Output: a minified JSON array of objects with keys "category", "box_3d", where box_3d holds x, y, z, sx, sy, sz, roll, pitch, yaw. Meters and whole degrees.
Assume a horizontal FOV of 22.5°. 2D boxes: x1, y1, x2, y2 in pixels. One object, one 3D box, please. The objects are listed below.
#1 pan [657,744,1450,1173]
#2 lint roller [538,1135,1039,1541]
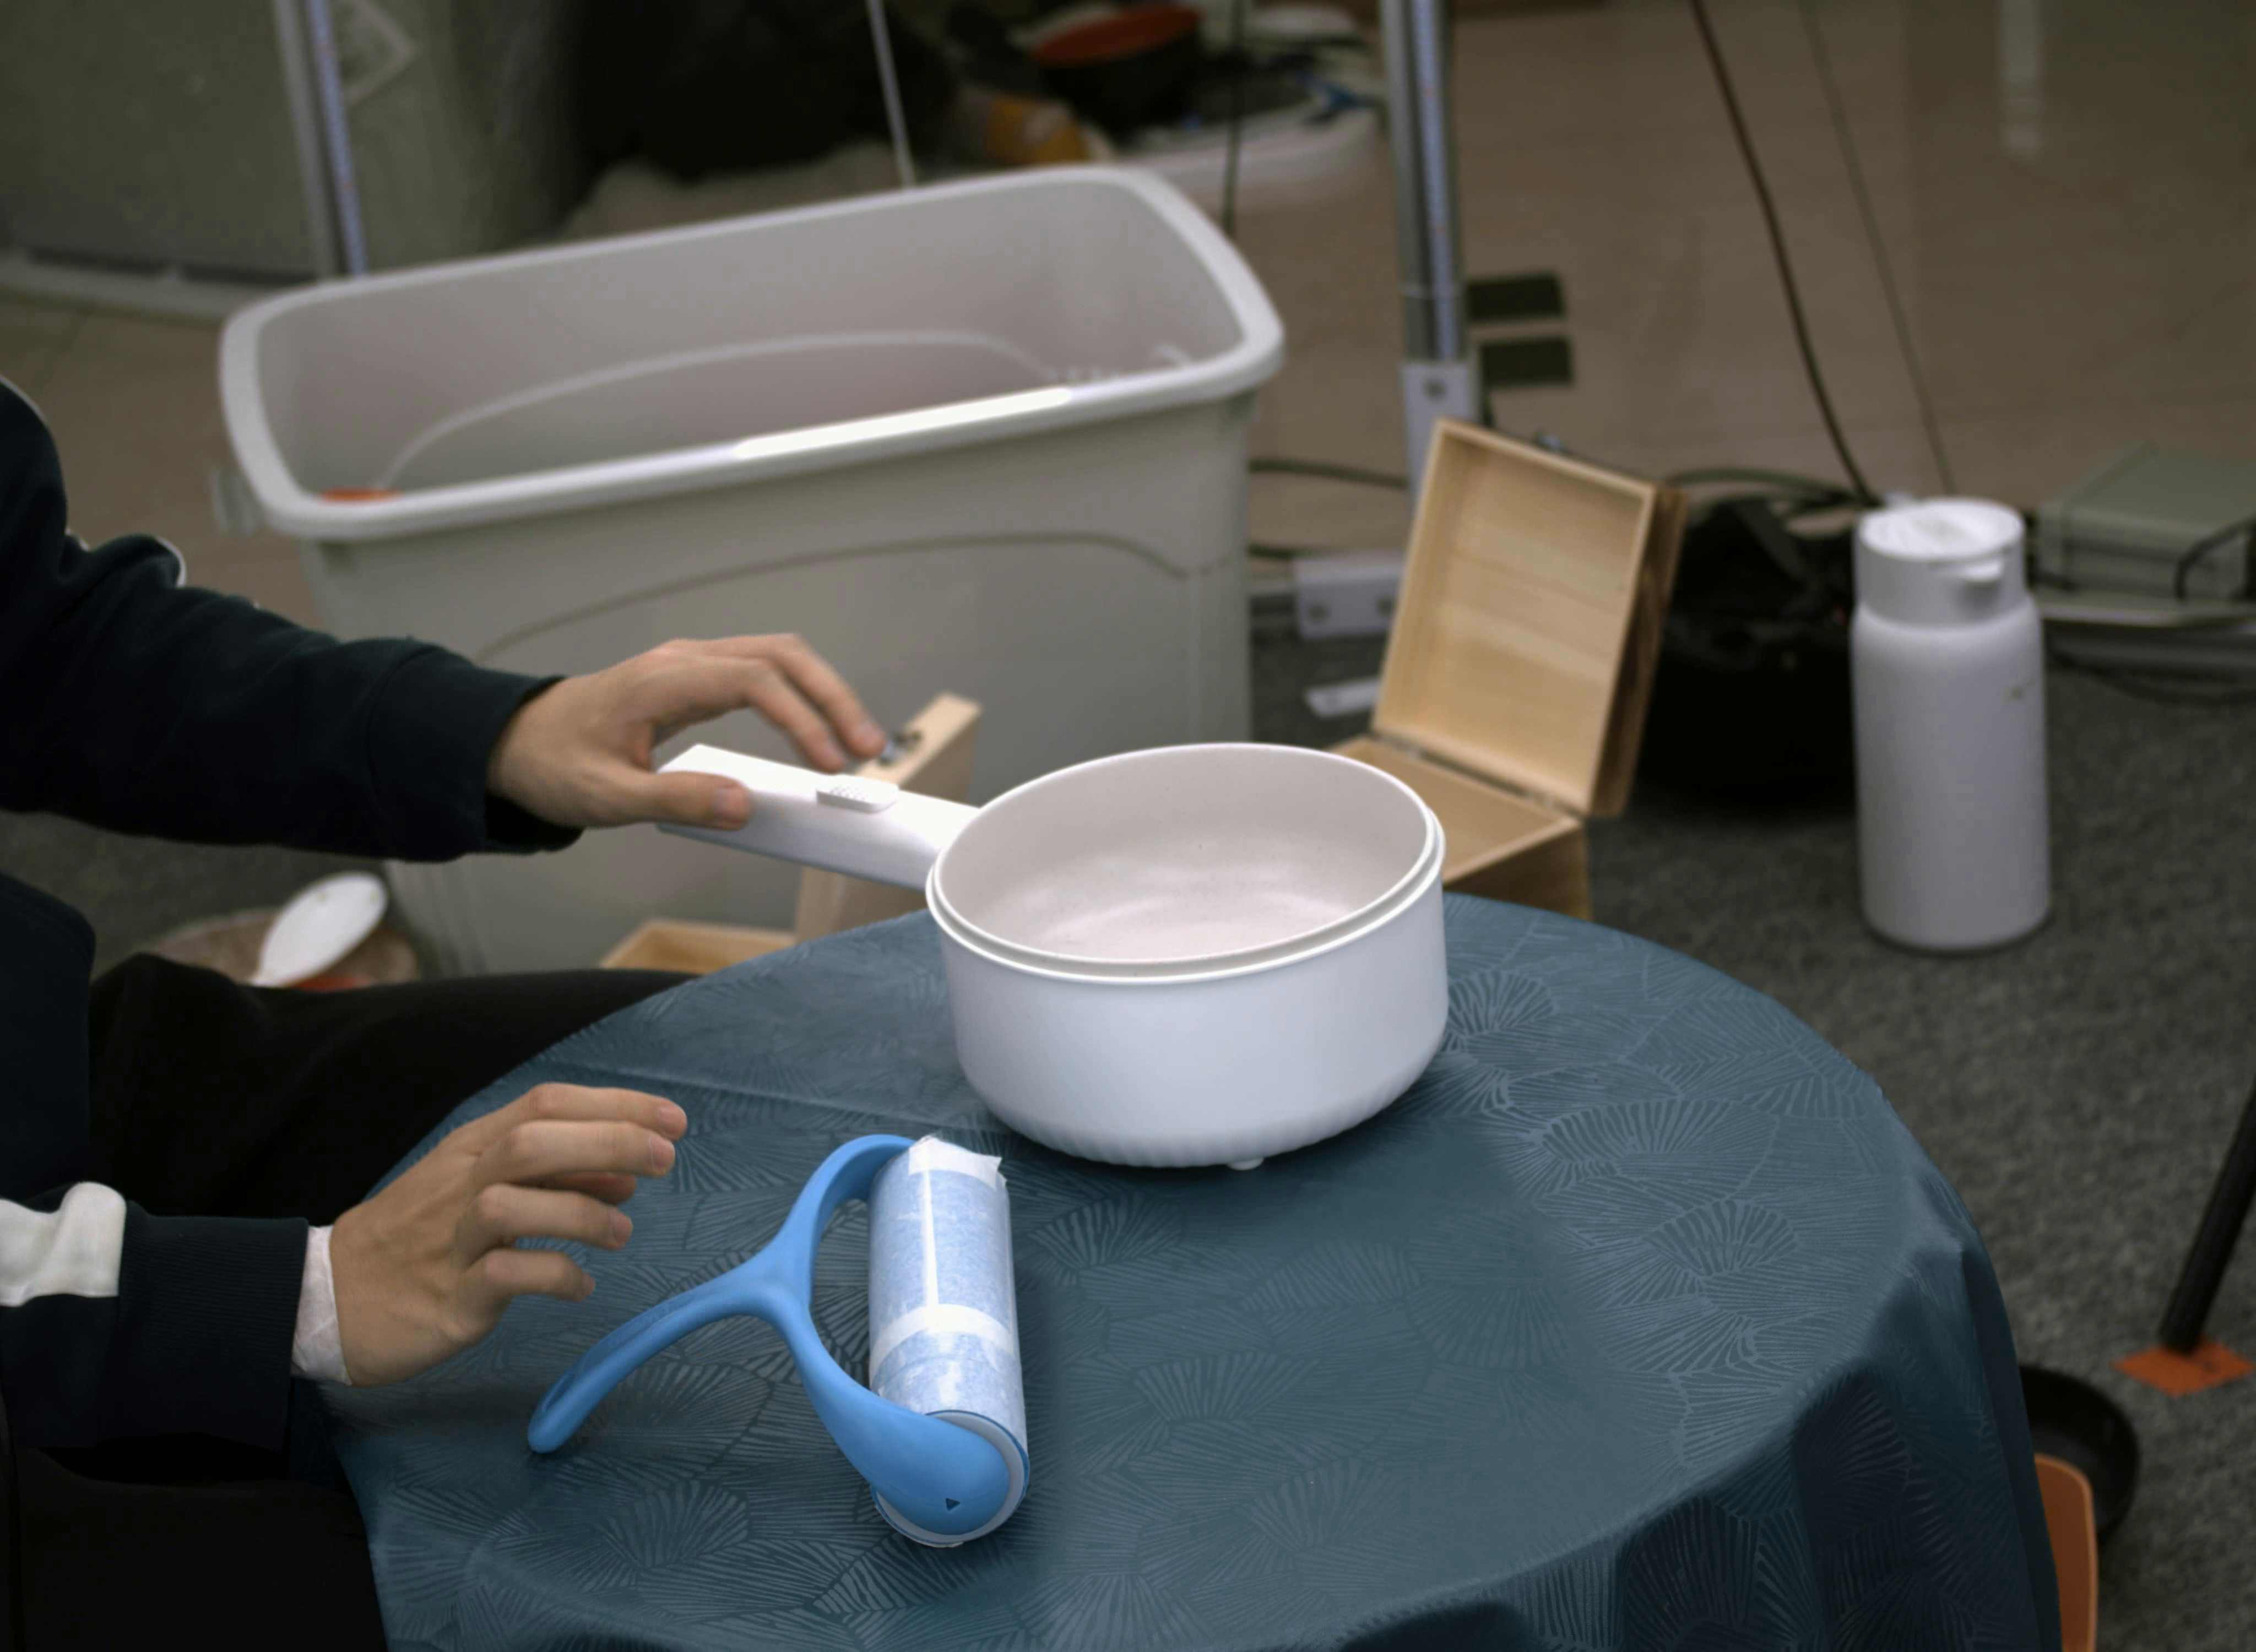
[{"category":"pan","box_3d":[-0.036,0.043,2.241,0.353,0.104,0.199,11,31,34]},{"category":"lint roller","box_3d":[-0.122,0.186,2.004,0.180,0.069,0.225,-7,27,-3]}]
